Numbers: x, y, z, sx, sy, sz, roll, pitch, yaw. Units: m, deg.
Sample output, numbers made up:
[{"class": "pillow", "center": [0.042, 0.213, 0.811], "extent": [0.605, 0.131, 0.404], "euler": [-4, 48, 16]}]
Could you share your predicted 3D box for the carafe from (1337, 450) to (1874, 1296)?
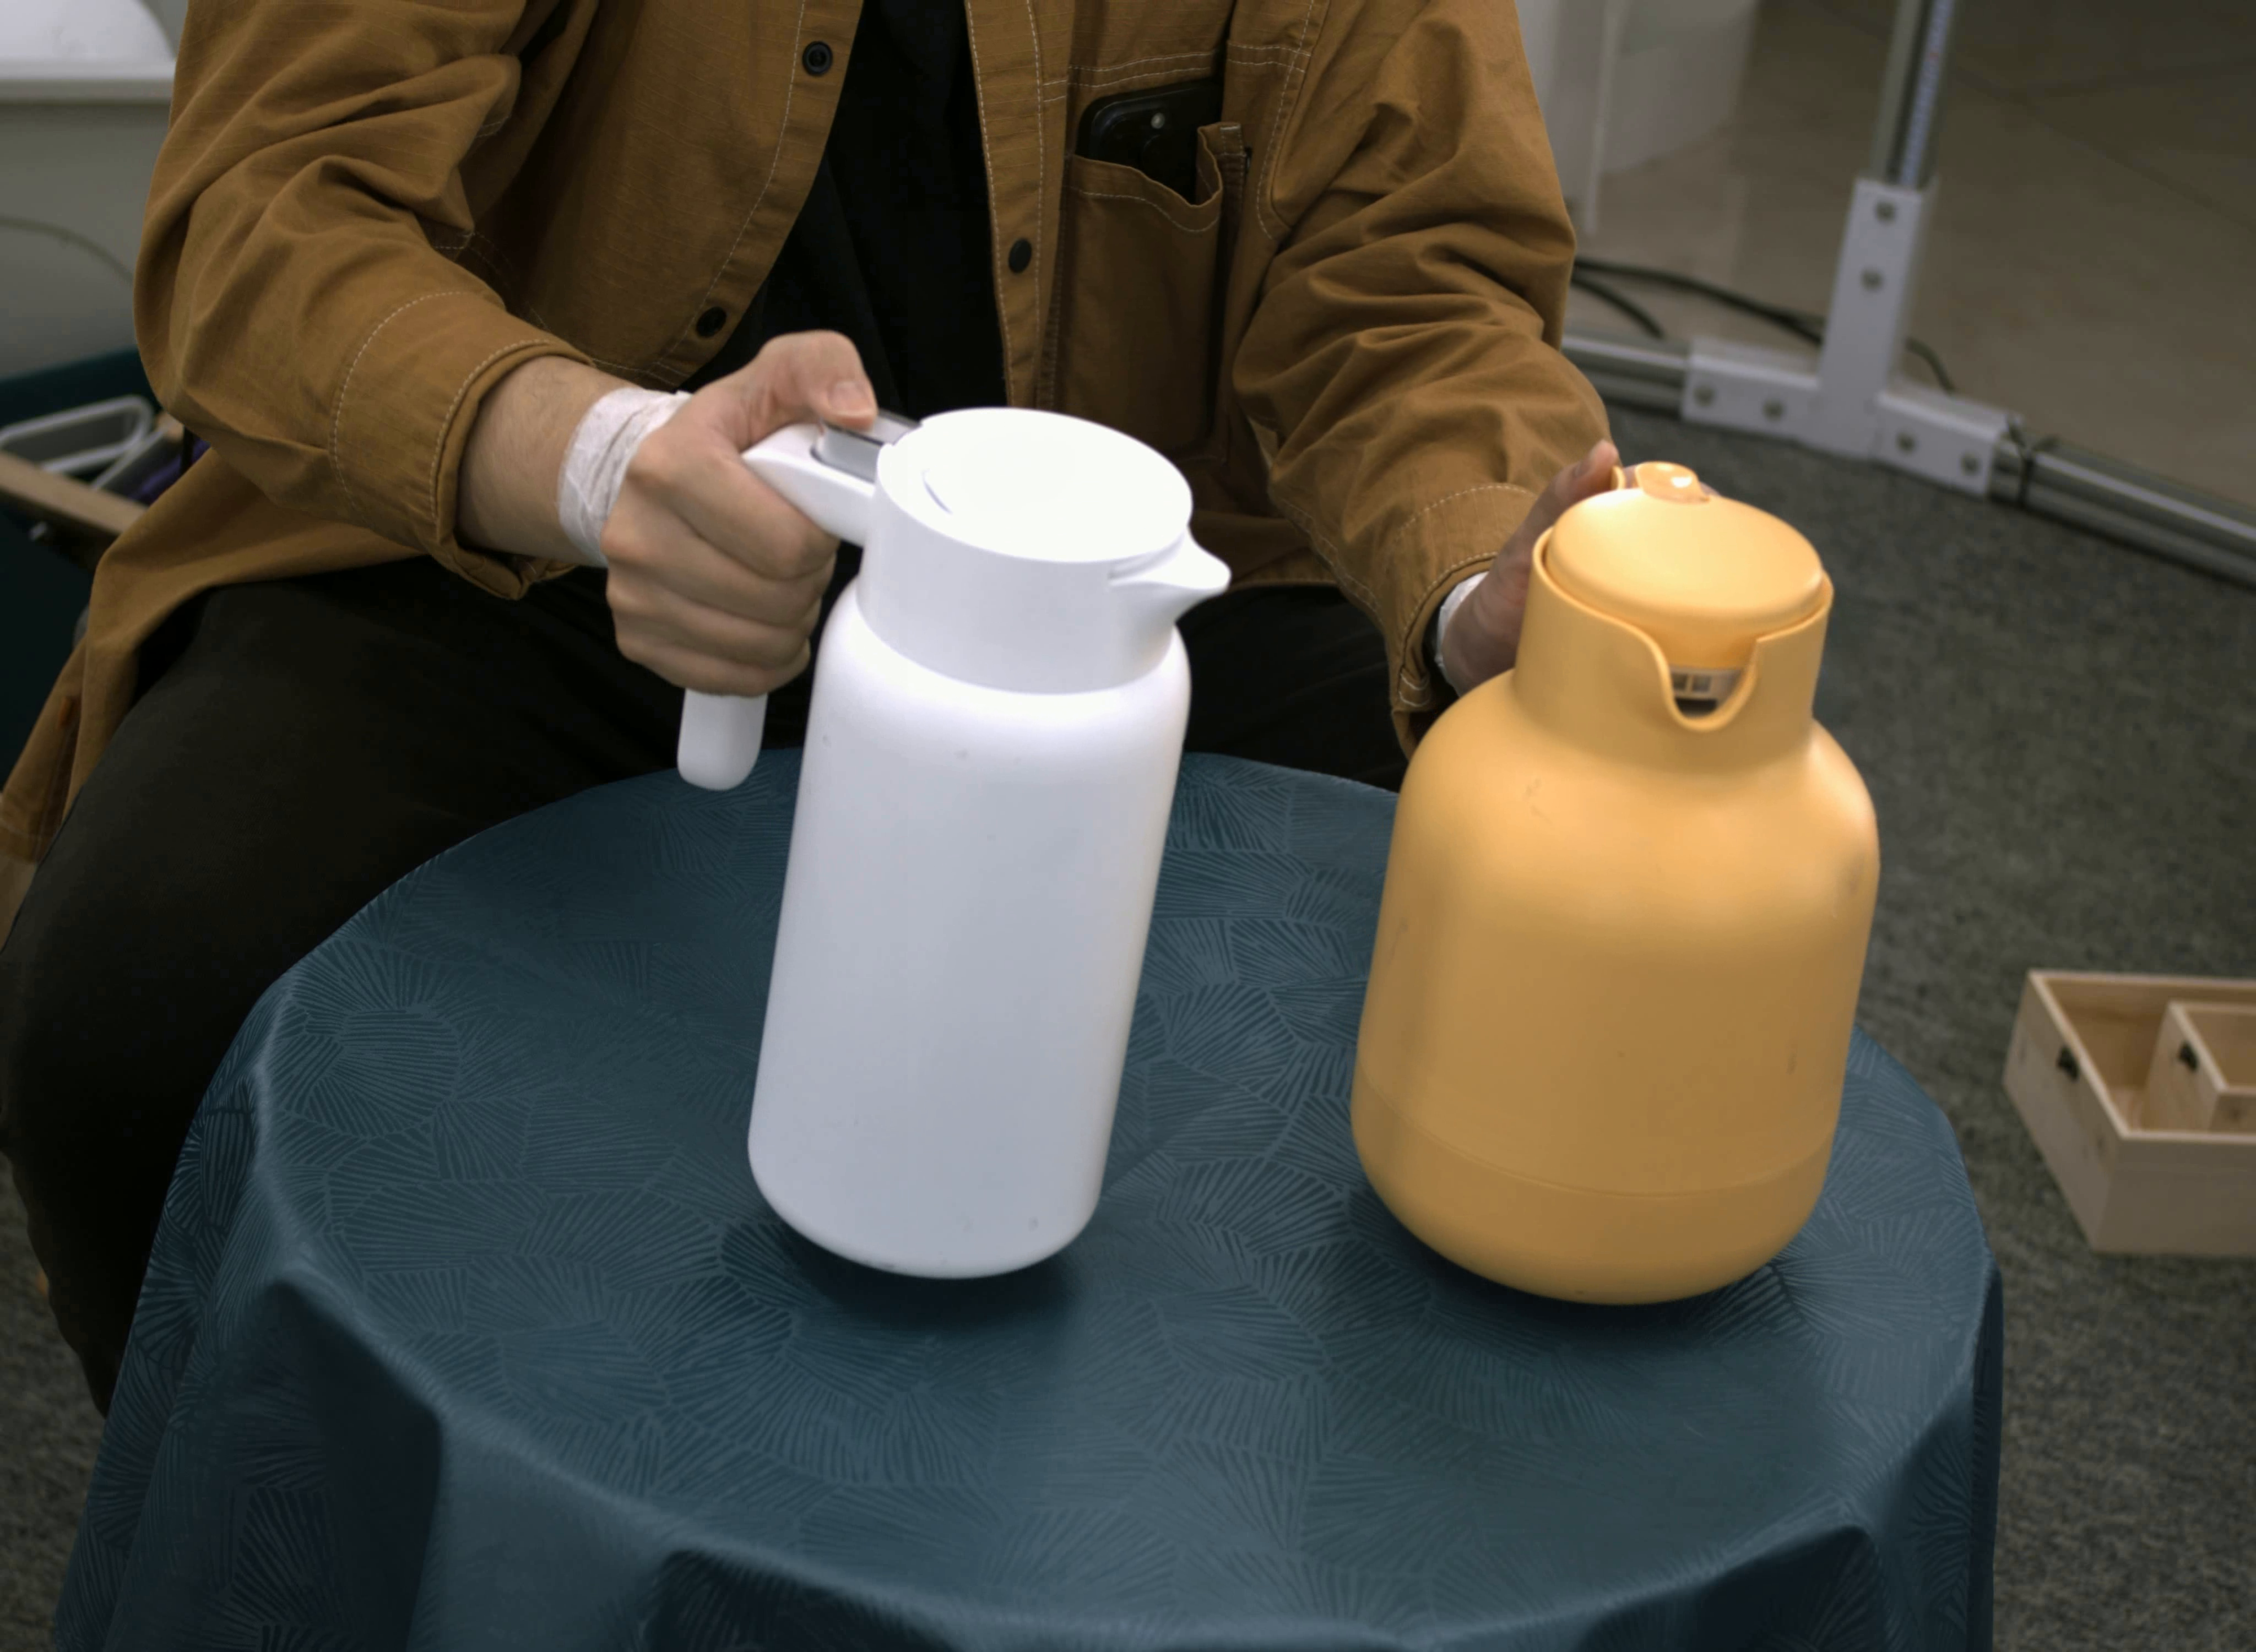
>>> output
[{"class": "carafe", "center": [0.165, 0.006, 1.768], "extent": [0.163, 0.259, 0.203], "euler": [8, 29, -2]}]

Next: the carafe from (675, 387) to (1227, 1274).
[{"class": "carafe", "center": [-0.065, -0.001, 1.691], "extent": [0.173, 0.268, 0.124], "euler": [21, 33, 19]}]
